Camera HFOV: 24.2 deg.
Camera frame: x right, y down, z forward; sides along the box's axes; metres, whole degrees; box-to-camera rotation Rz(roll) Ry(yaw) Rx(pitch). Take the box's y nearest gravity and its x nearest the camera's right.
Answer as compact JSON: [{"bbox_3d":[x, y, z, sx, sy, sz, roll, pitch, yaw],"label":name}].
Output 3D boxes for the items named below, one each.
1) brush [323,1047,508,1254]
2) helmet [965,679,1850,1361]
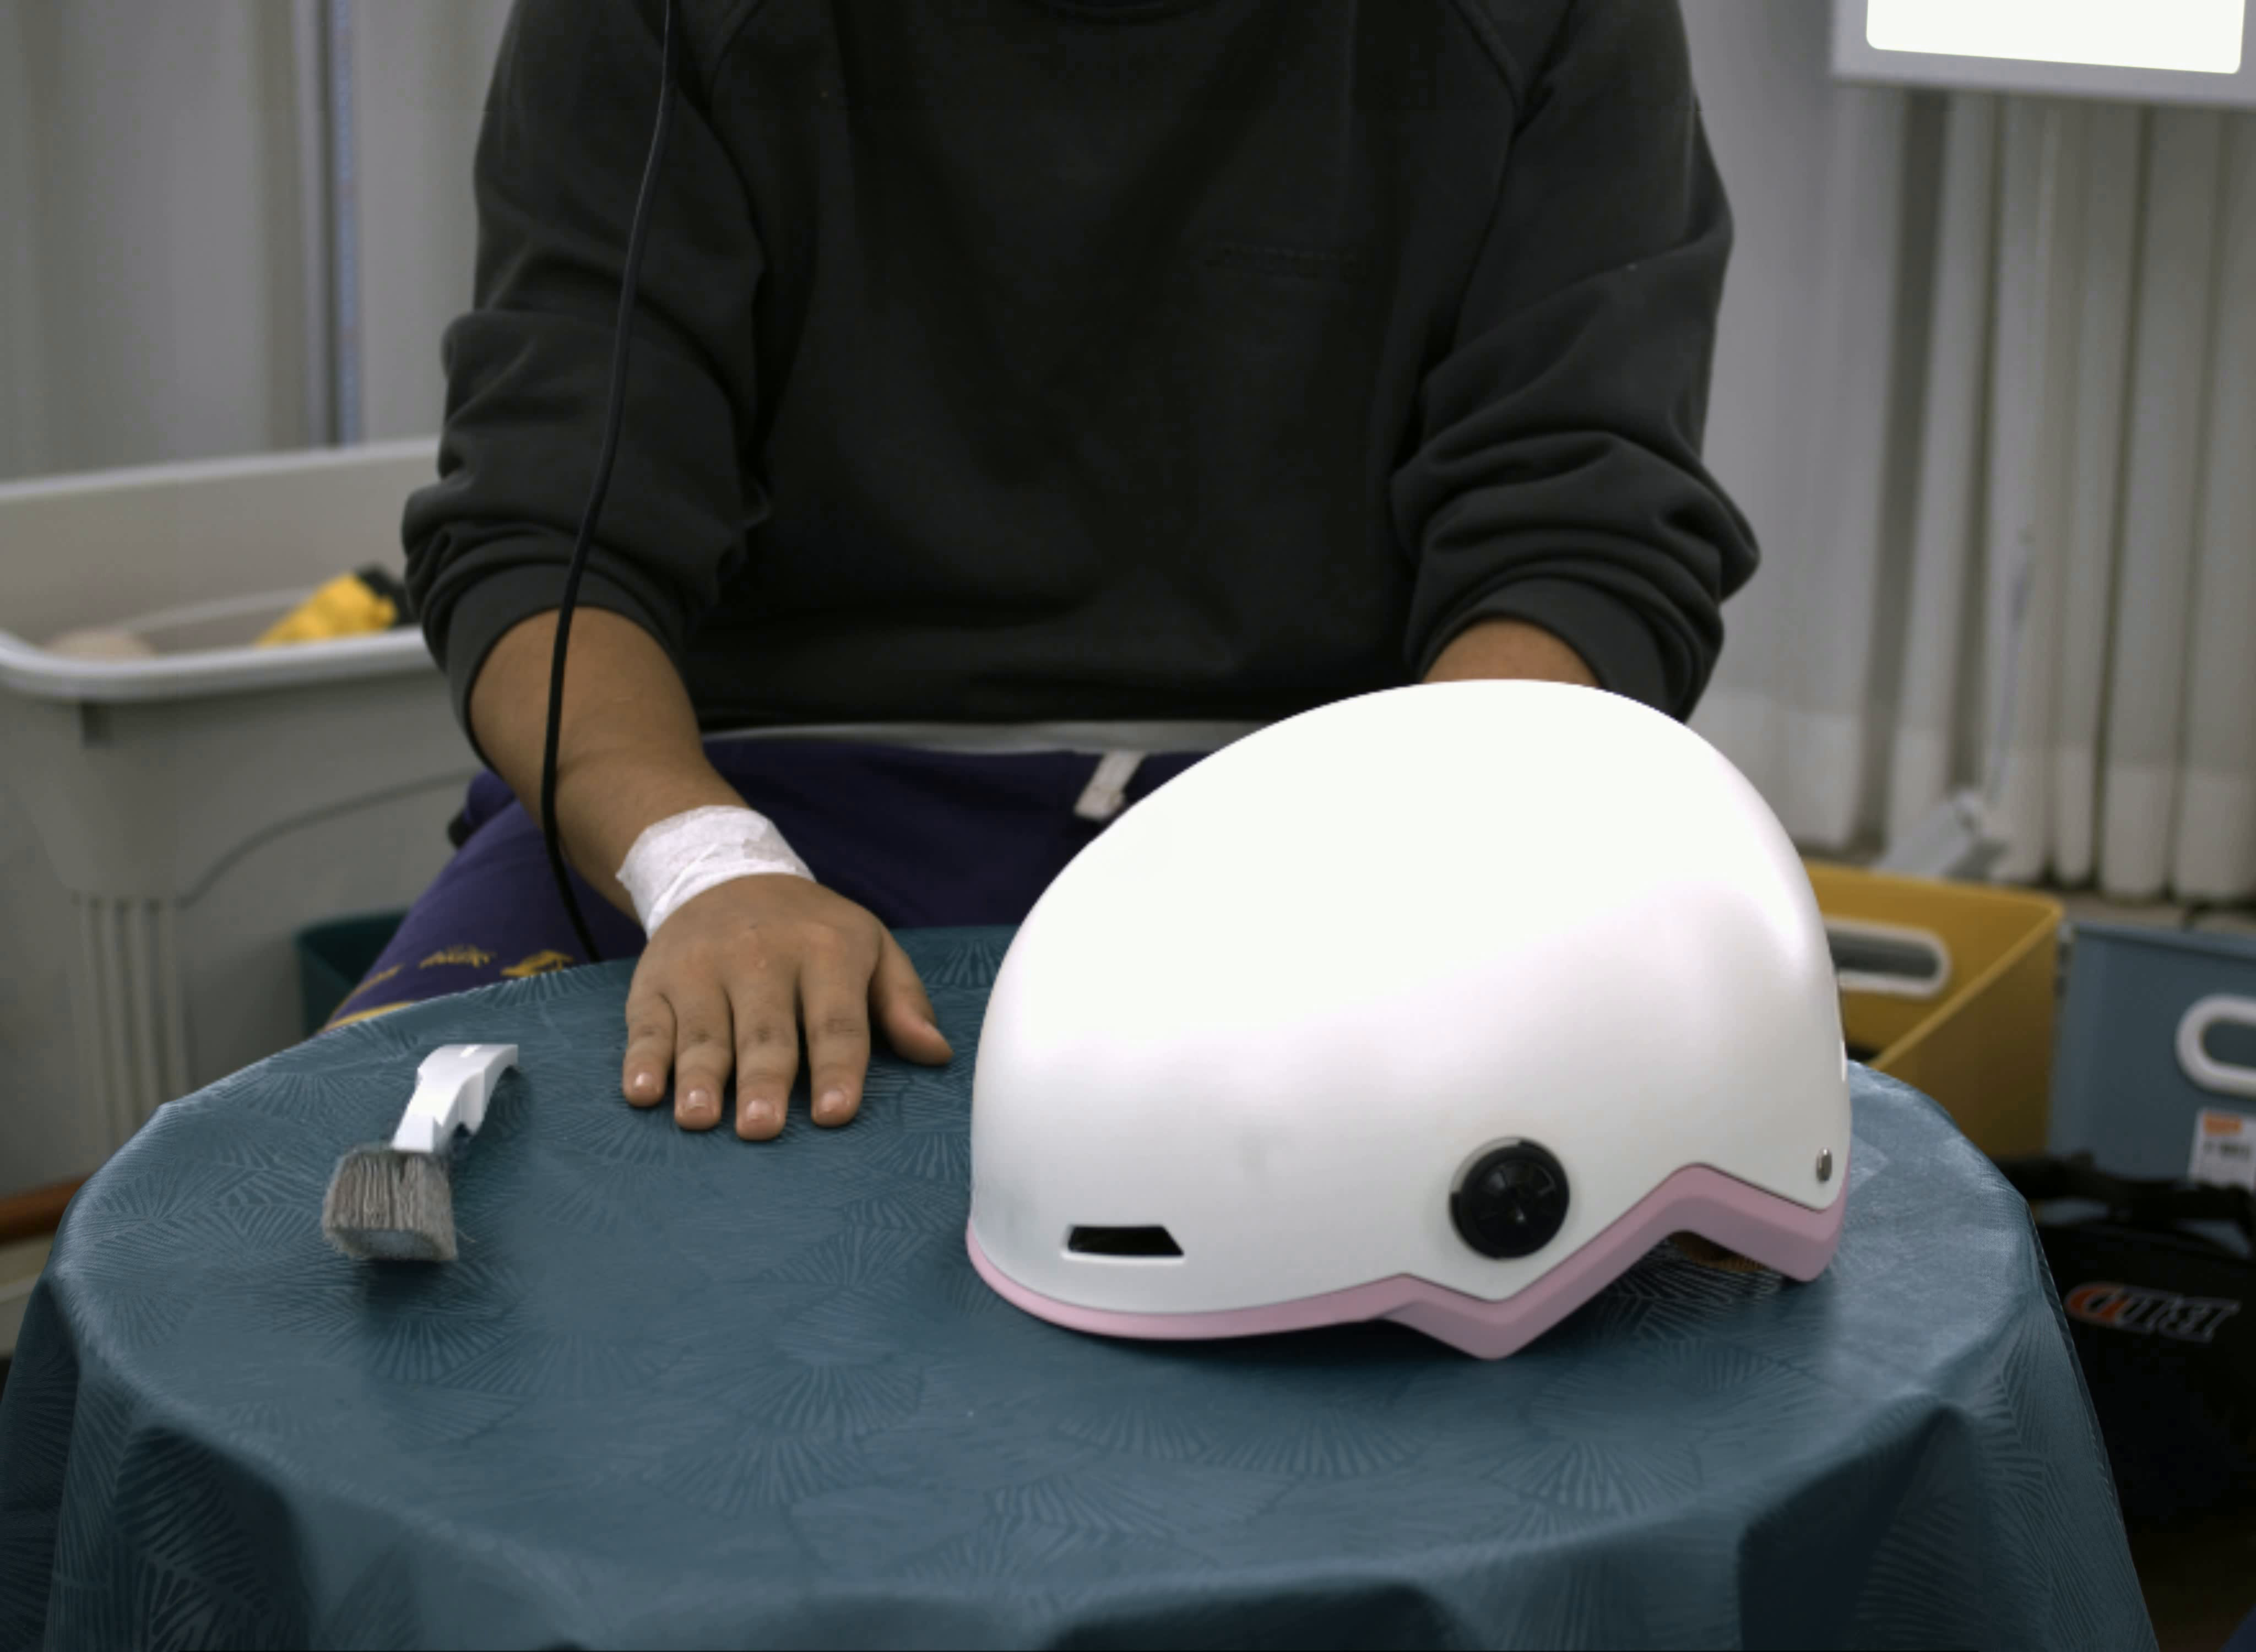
[{"bbox_3d":[-0.216,0.099,1.619,0.034,0.050,0.243,0,2,0],"label":"brush"},{"bbox_3d":[0.084,0.045,1.563,0.269,0.168,0.234,-6,18,-22],"label":"helmet"}]
